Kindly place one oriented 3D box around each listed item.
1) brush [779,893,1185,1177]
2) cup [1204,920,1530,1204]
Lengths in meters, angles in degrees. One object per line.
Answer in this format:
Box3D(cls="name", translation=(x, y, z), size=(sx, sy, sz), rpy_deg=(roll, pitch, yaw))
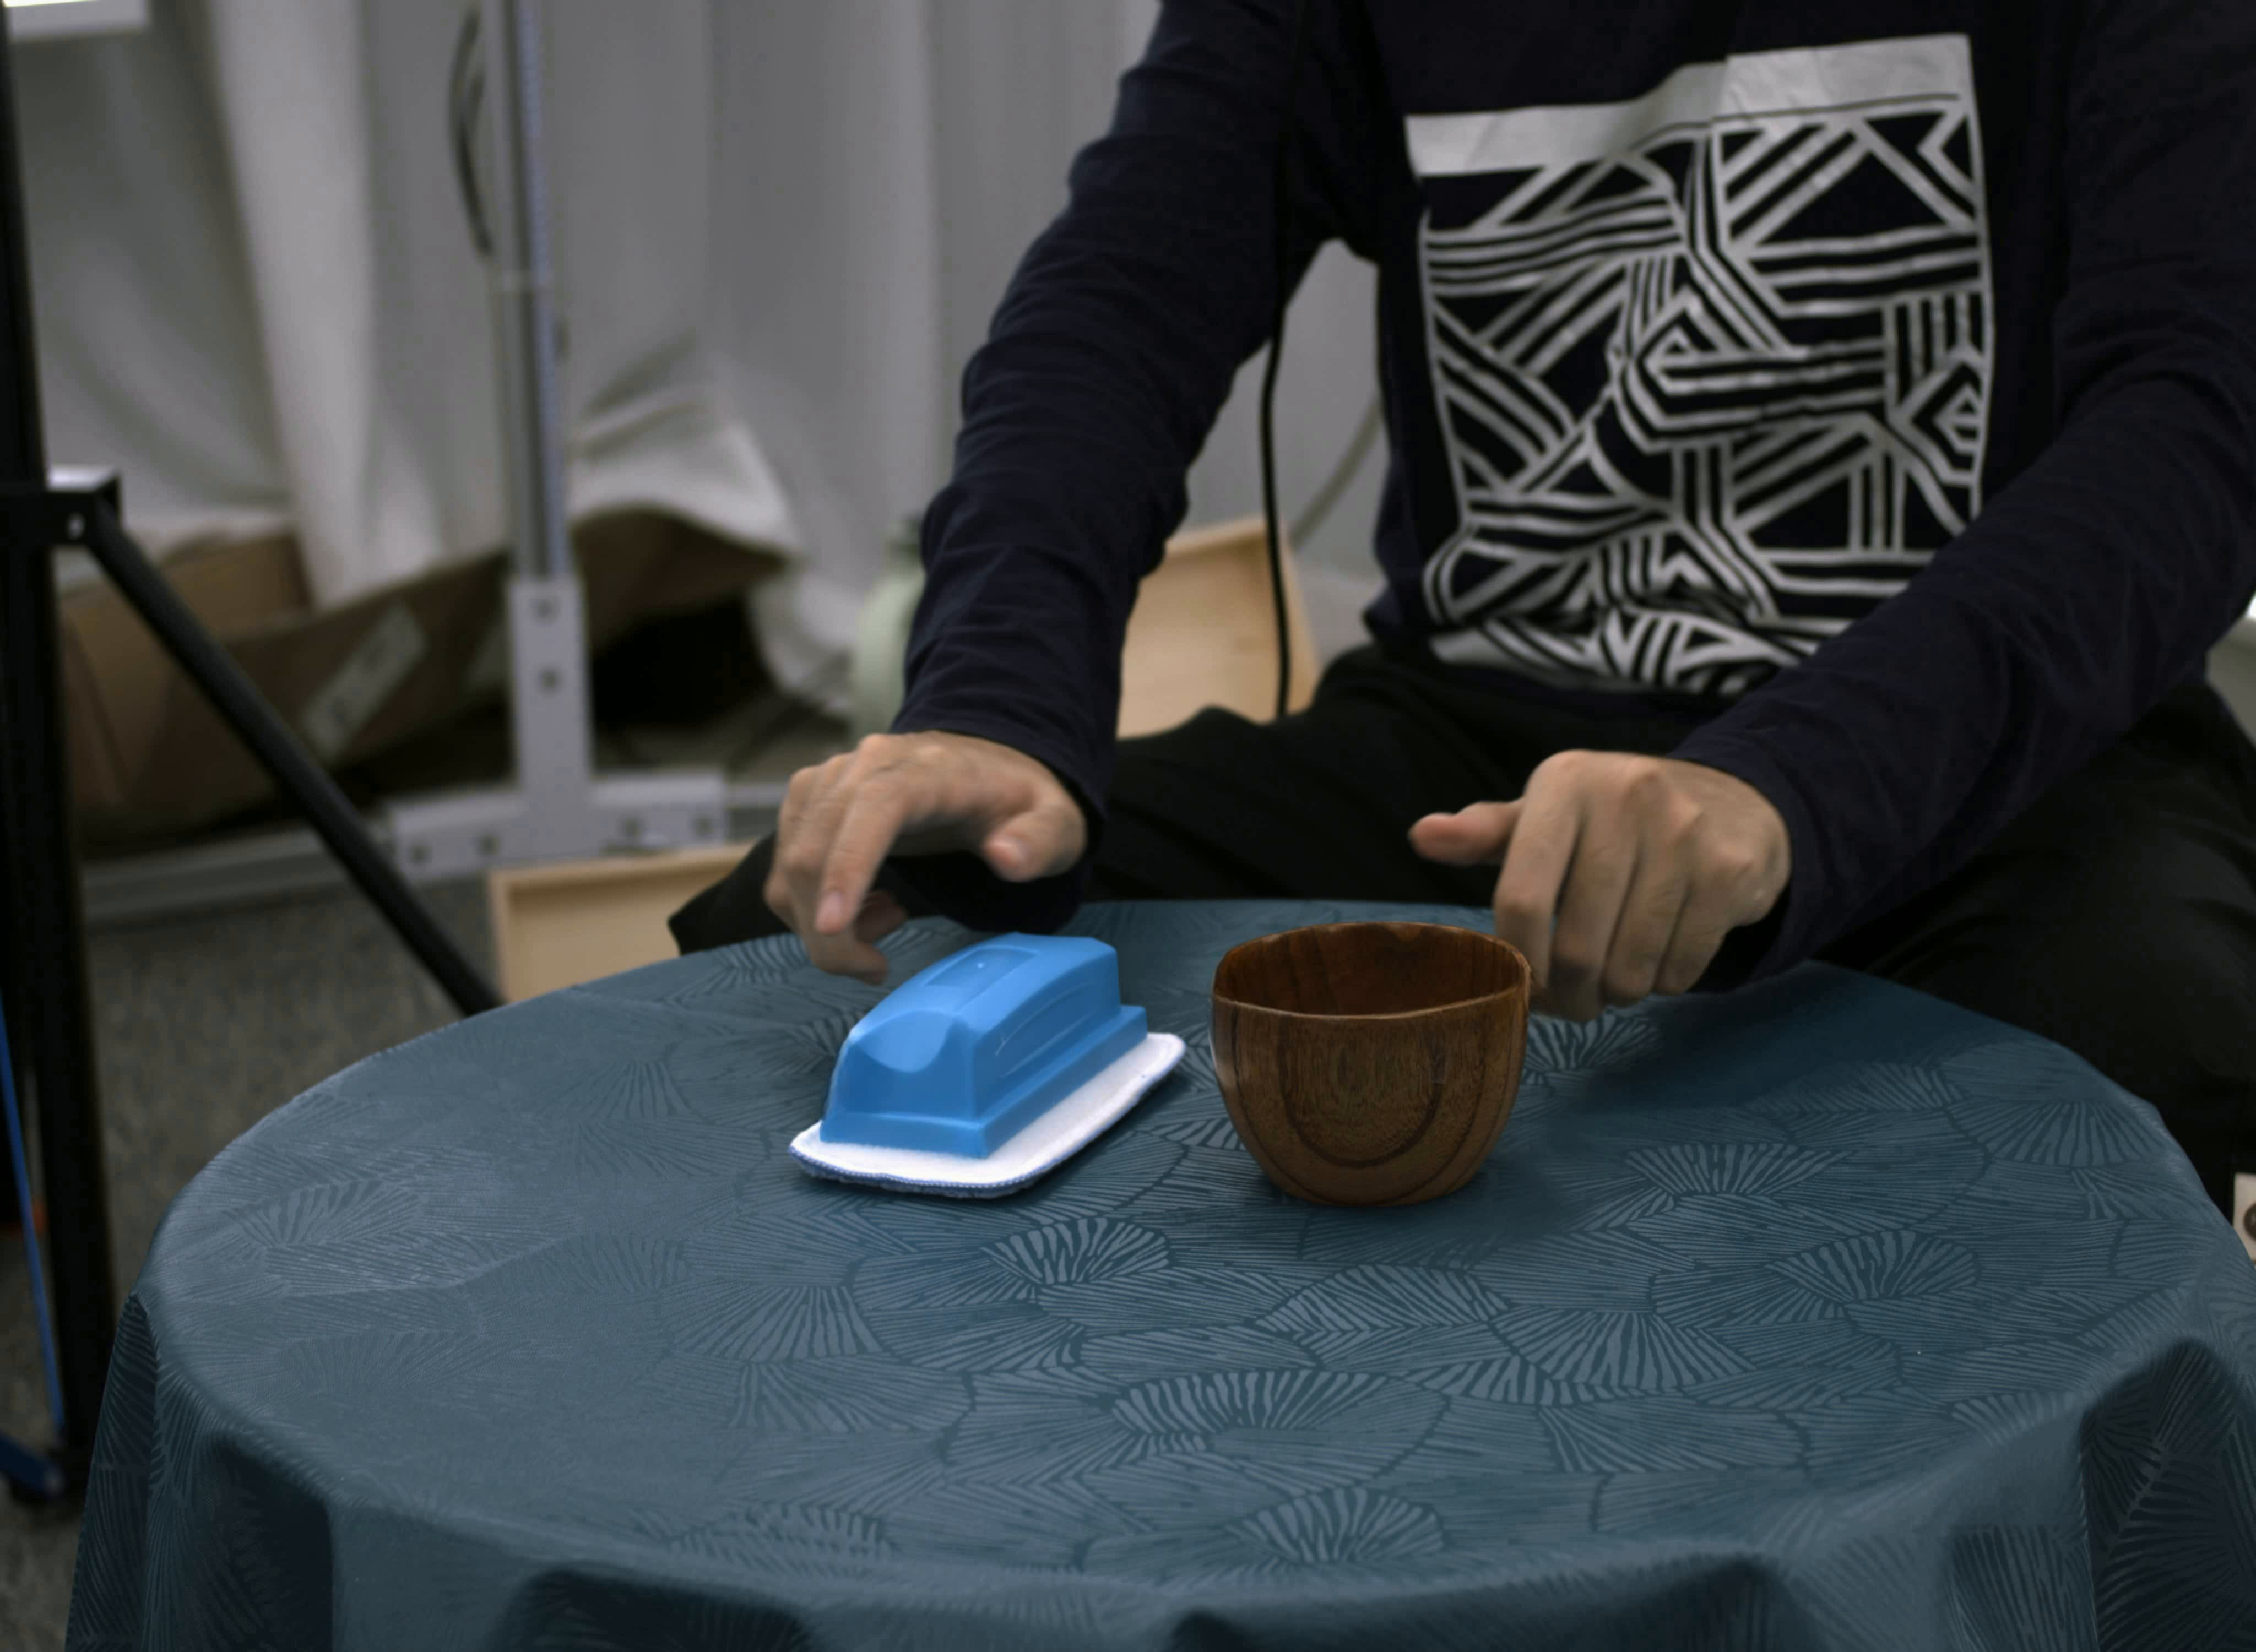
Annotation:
Box3D(cls="brush", translation=(-0.043, 0.060, 1.626), size=(0.085, 0.056, 0.142), rpy_deg=(9, 21, 25))
Box3D(cls="cup", translation=(0.075, 0.069, 1.569), size=(0.097, 0.068, 0.118), rpy_deg=(-1, 13, 17))
